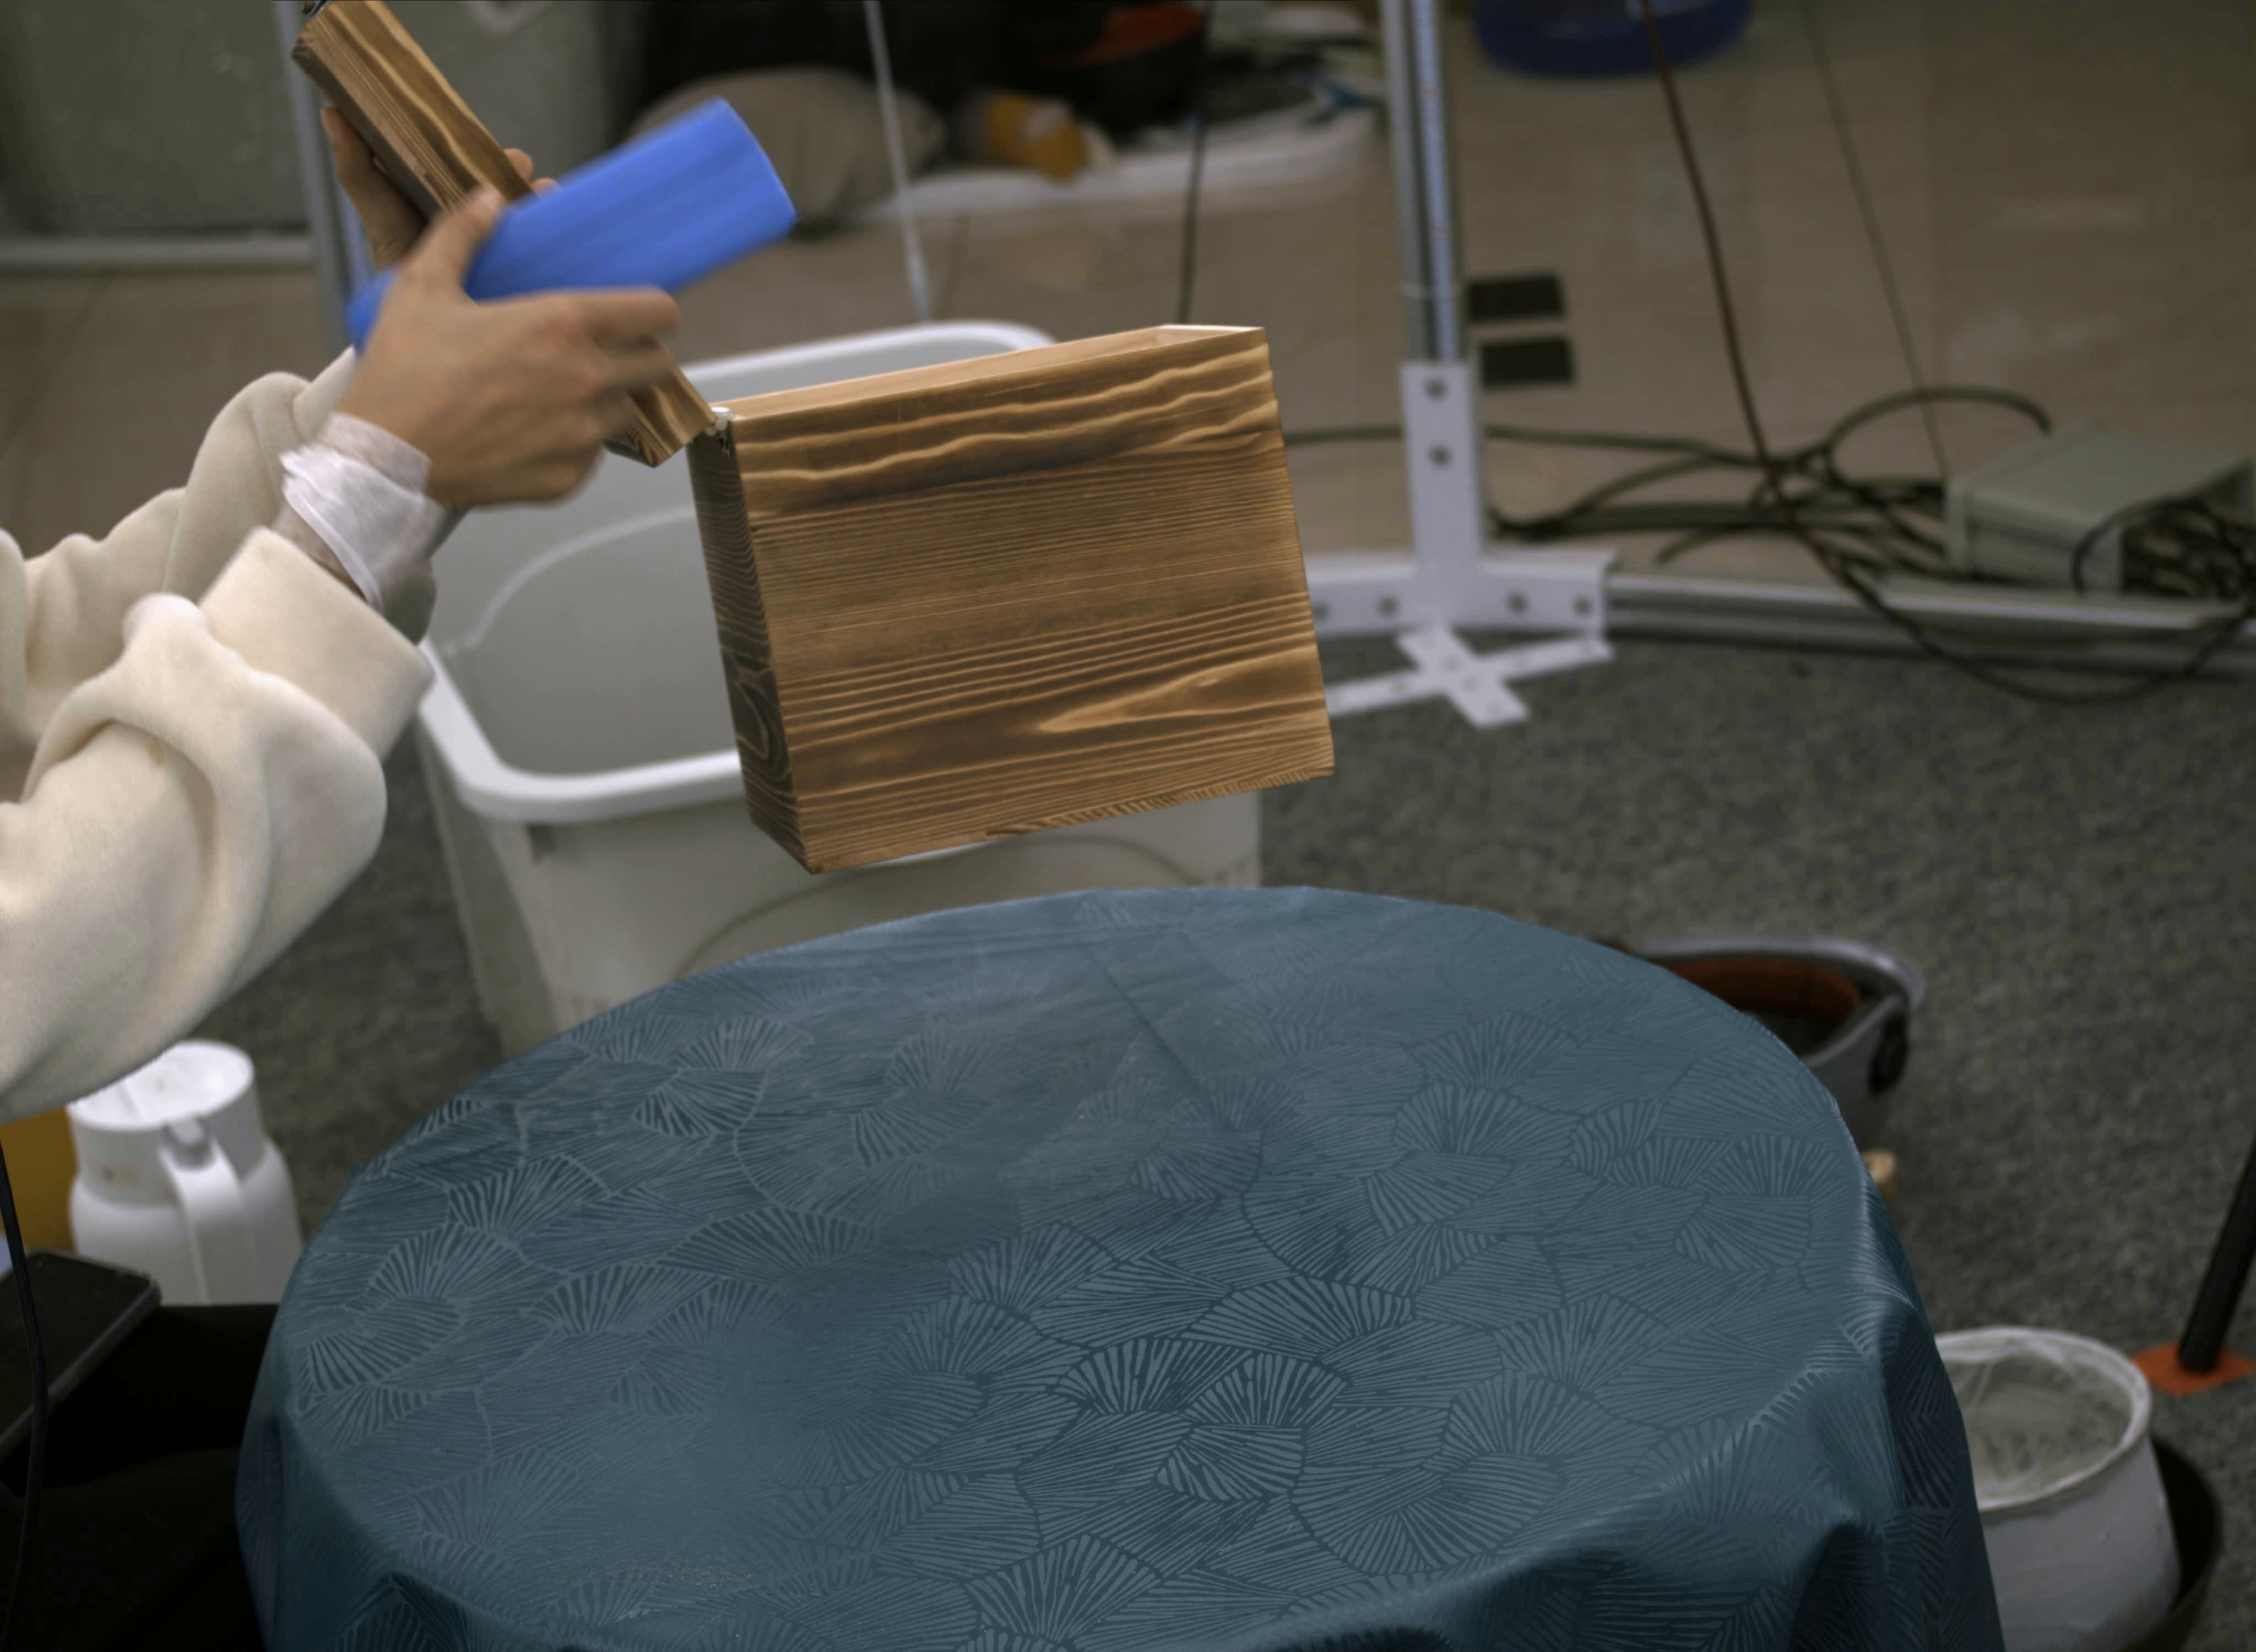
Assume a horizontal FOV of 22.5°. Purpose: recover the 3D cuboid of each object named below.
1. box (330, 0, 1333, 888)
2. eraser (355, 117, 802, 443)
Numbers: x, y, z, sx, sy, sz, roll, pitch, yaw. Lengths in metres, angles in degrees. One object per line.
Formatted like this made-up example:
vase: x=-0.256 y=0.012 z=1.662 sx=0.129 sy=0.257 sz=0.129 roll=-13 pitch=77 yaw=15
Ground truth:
box: x=-0.116 y=-0.174 z=2.136 sx=0.321 sy=0.378 sz=0.207 roll=-12 pitch=9 yaw=-9
eraser: x=-0.193 y=-0.194 z=1.995 sx=0.161 sy=0.054 sz=0.047 roll=-29 pitch=7 yaw=-8
